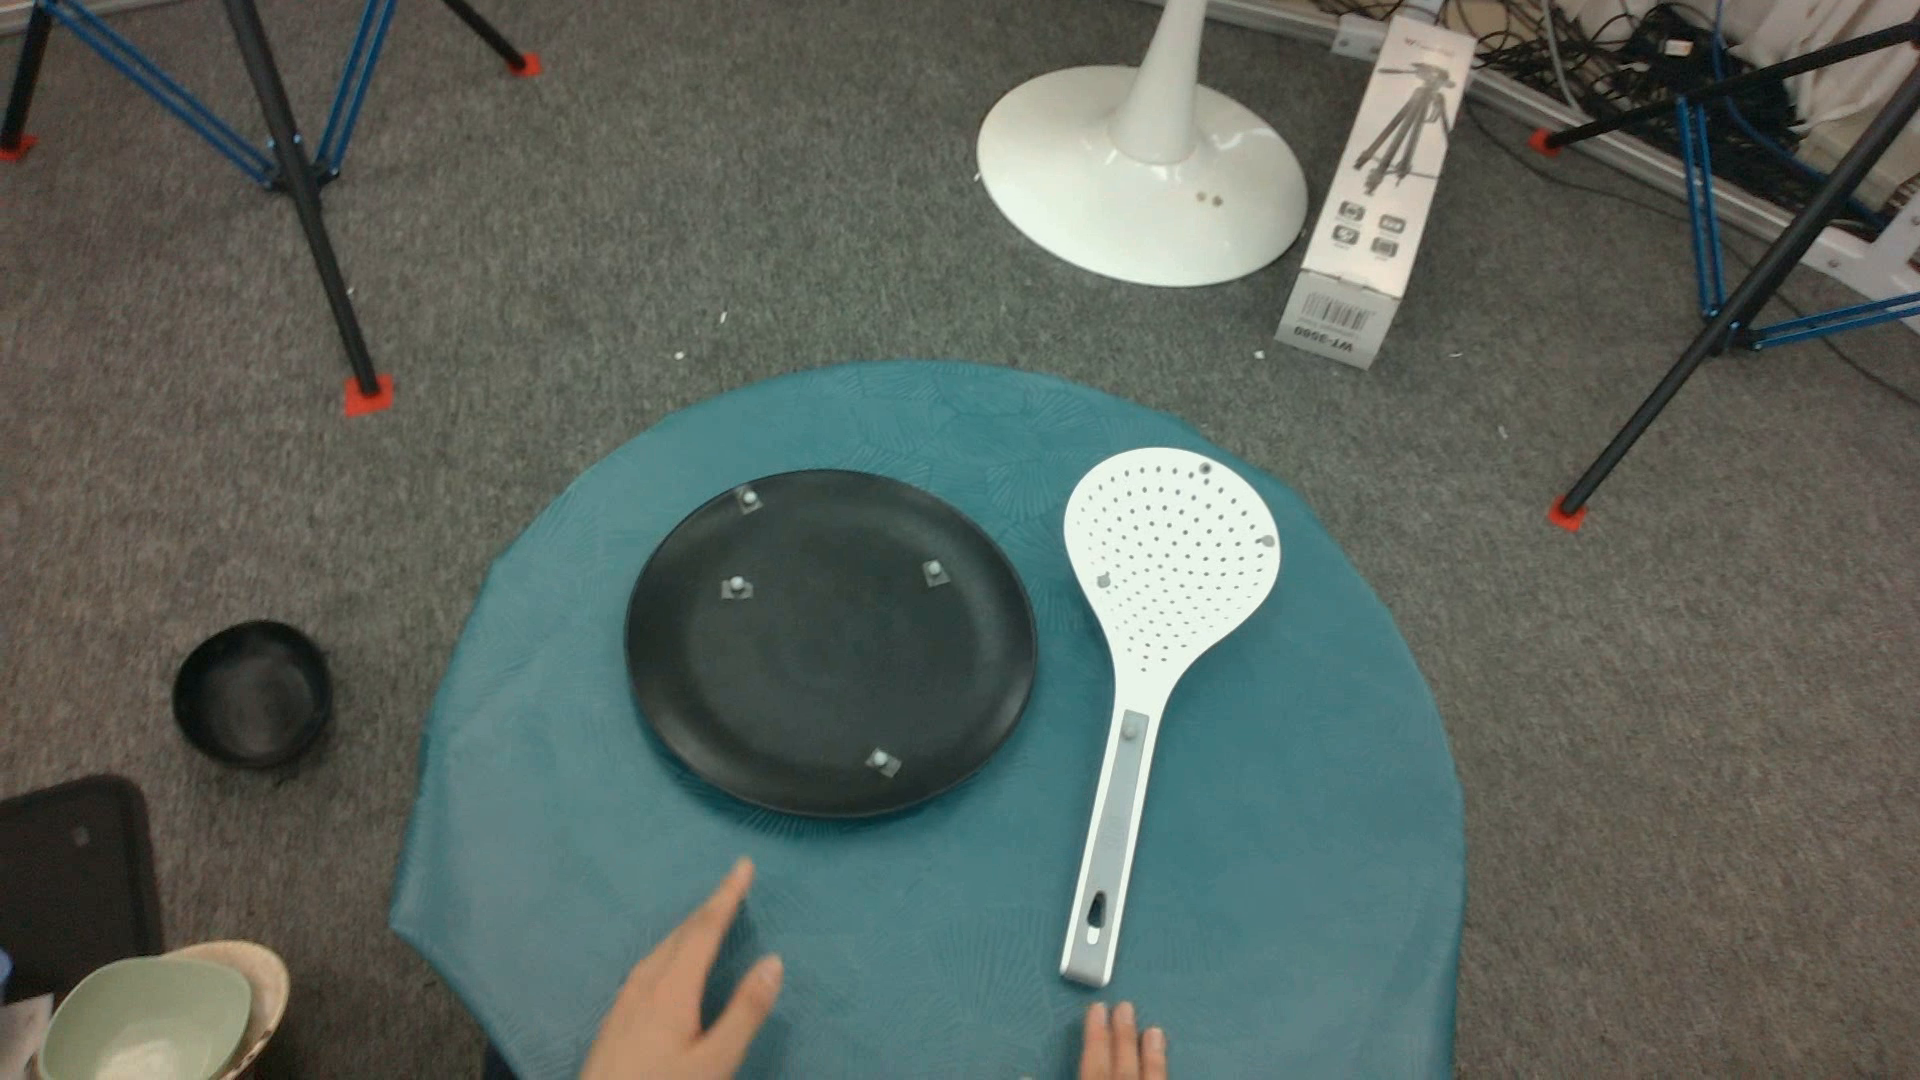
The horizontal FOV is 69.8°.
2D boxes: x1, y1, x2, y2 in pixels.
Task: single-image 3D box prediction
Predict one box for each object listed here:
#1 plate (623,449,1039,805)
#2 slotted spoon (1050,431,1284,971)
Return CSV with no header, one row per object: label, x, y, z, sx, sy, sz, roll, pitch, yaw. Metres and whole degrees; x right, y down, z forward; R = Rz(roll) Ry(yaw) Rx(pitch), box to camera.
plate,-0.075,0.047,0.818,0.244,0.023,0.245,5,54,-7
slotted spoon,0.107,0.080,0.811,0.136,0.045,0.351,15,55,4
